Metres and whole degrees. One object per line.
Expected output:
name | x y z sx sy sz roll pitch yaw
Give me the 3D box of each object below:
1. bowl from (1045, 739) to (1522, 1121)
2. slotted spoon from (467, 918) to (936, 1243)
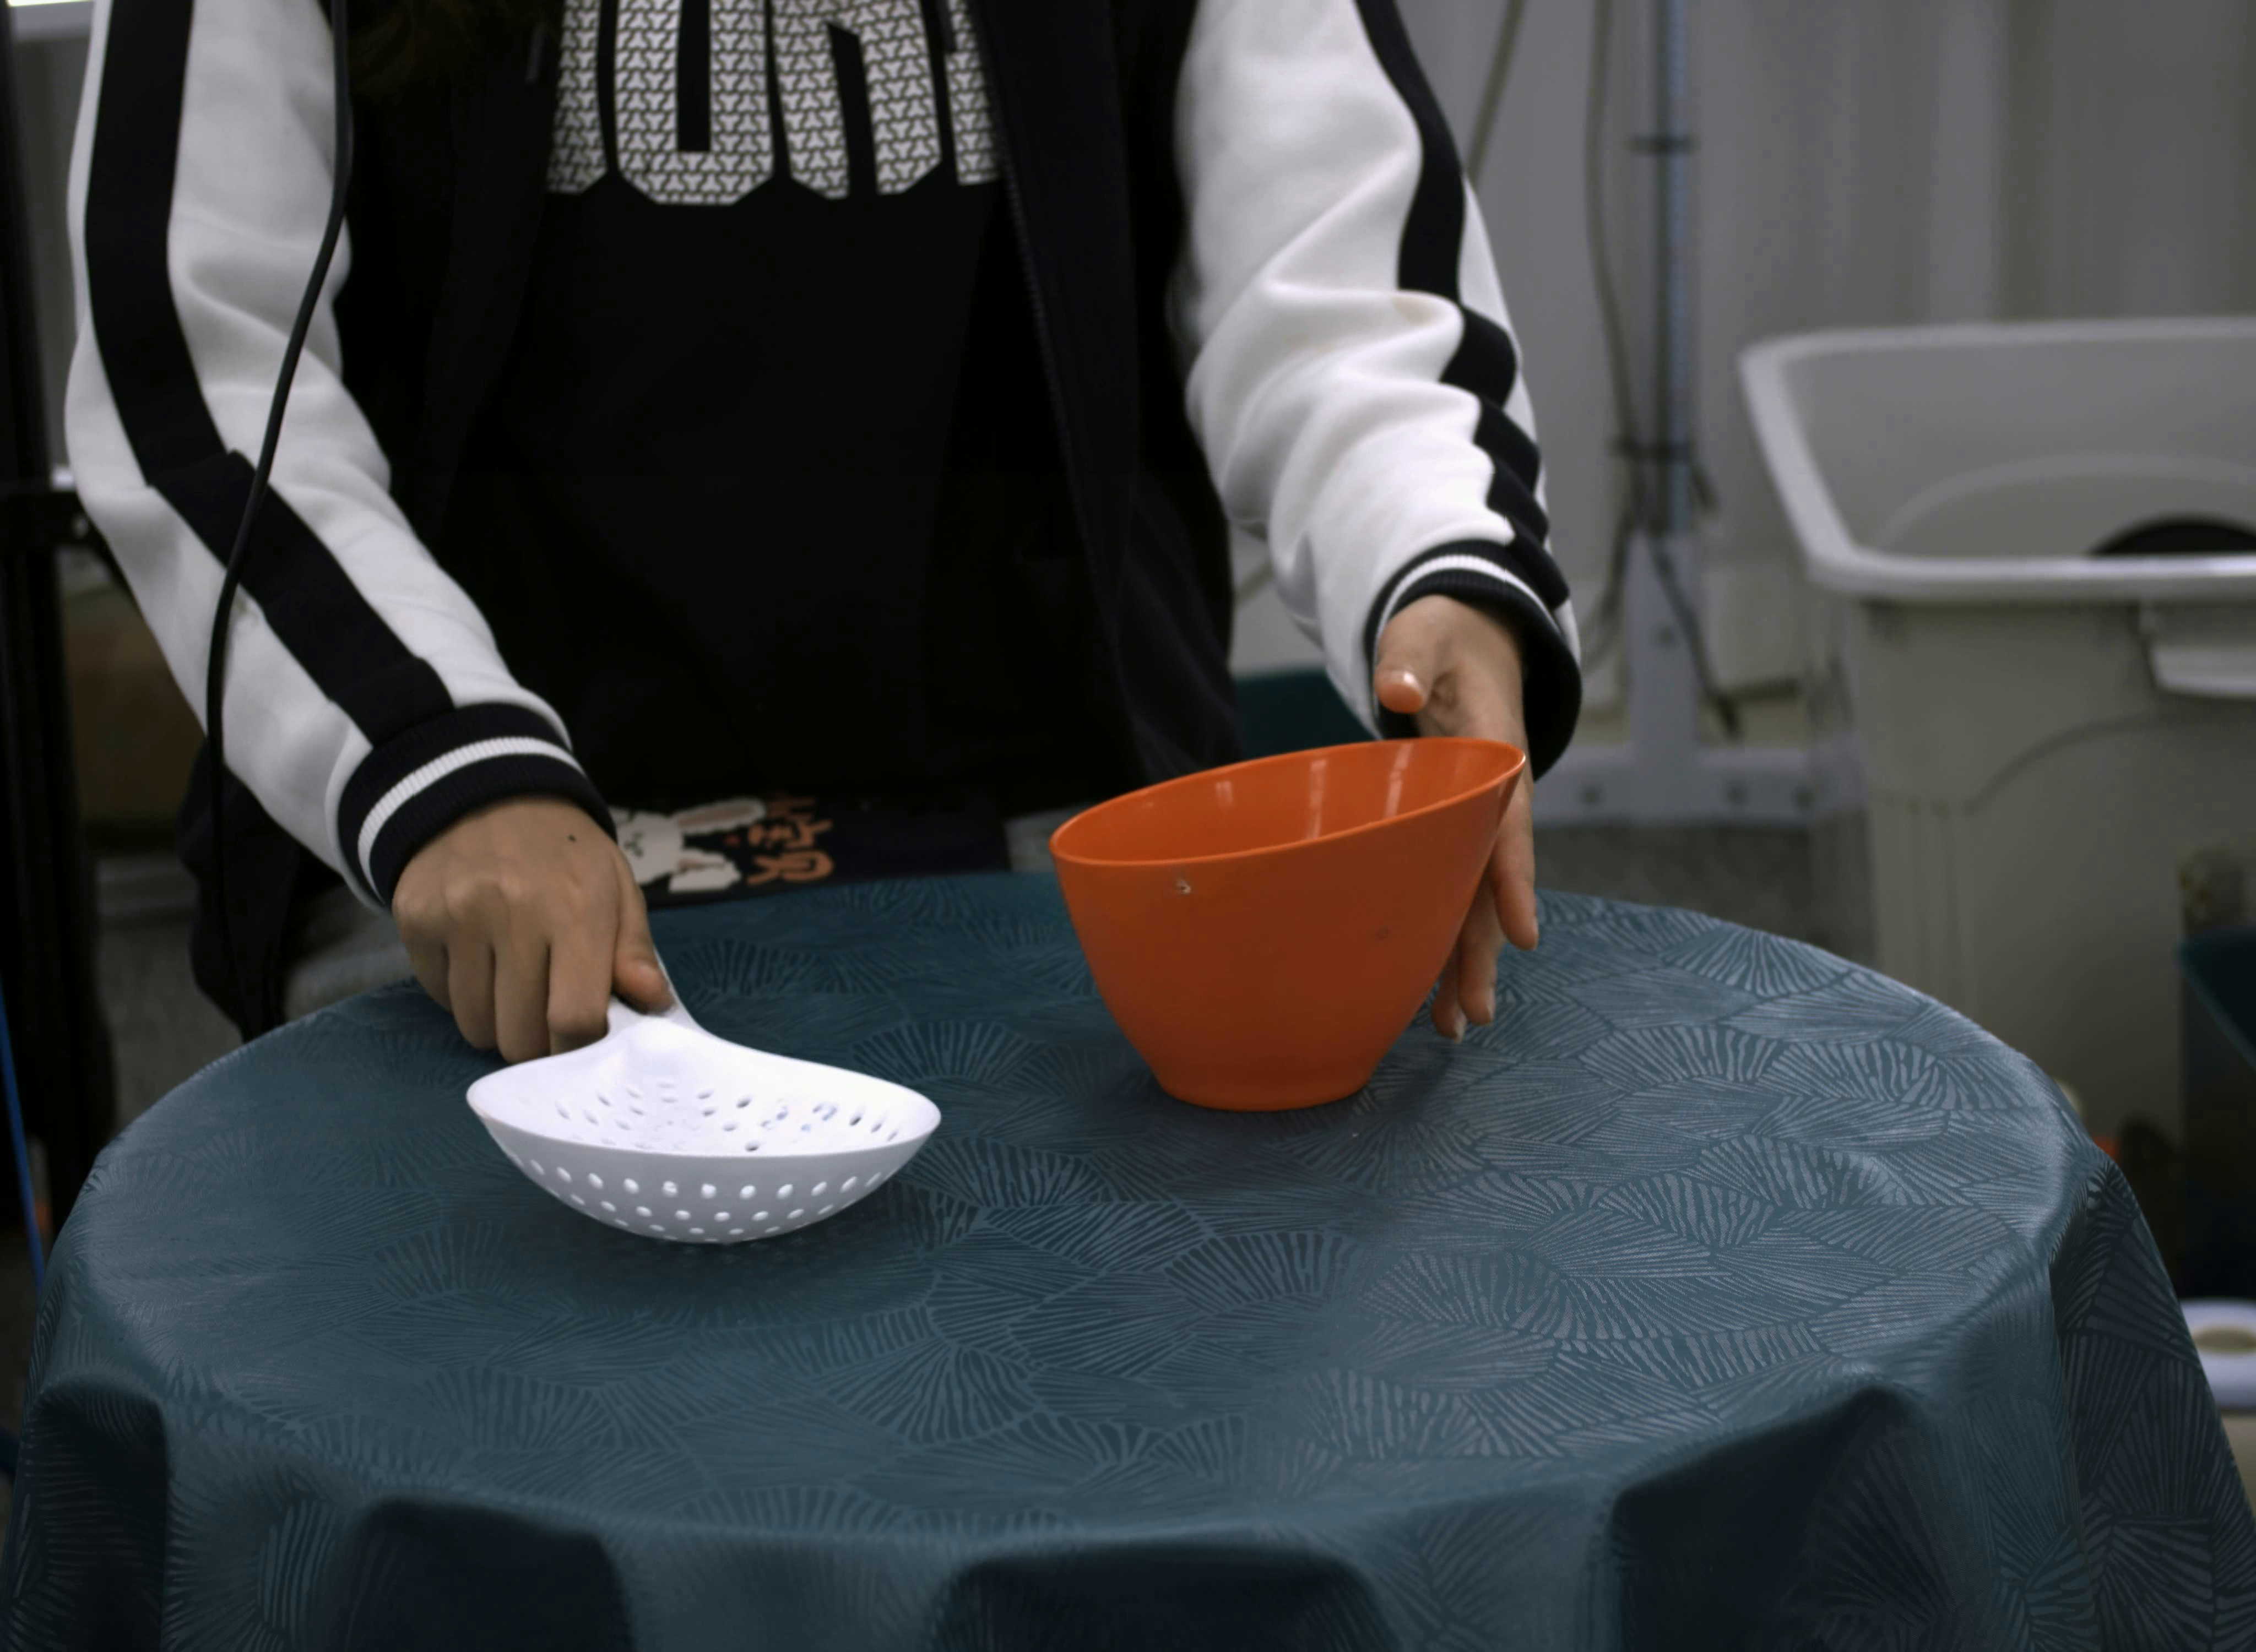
bowl | 0.049 0.033 1.634 0.147 0.104 0.149 -4 16 0
slotted spoon | -0.144 0.068 1.638 0.134 0.046 0.354 3 14 -11
